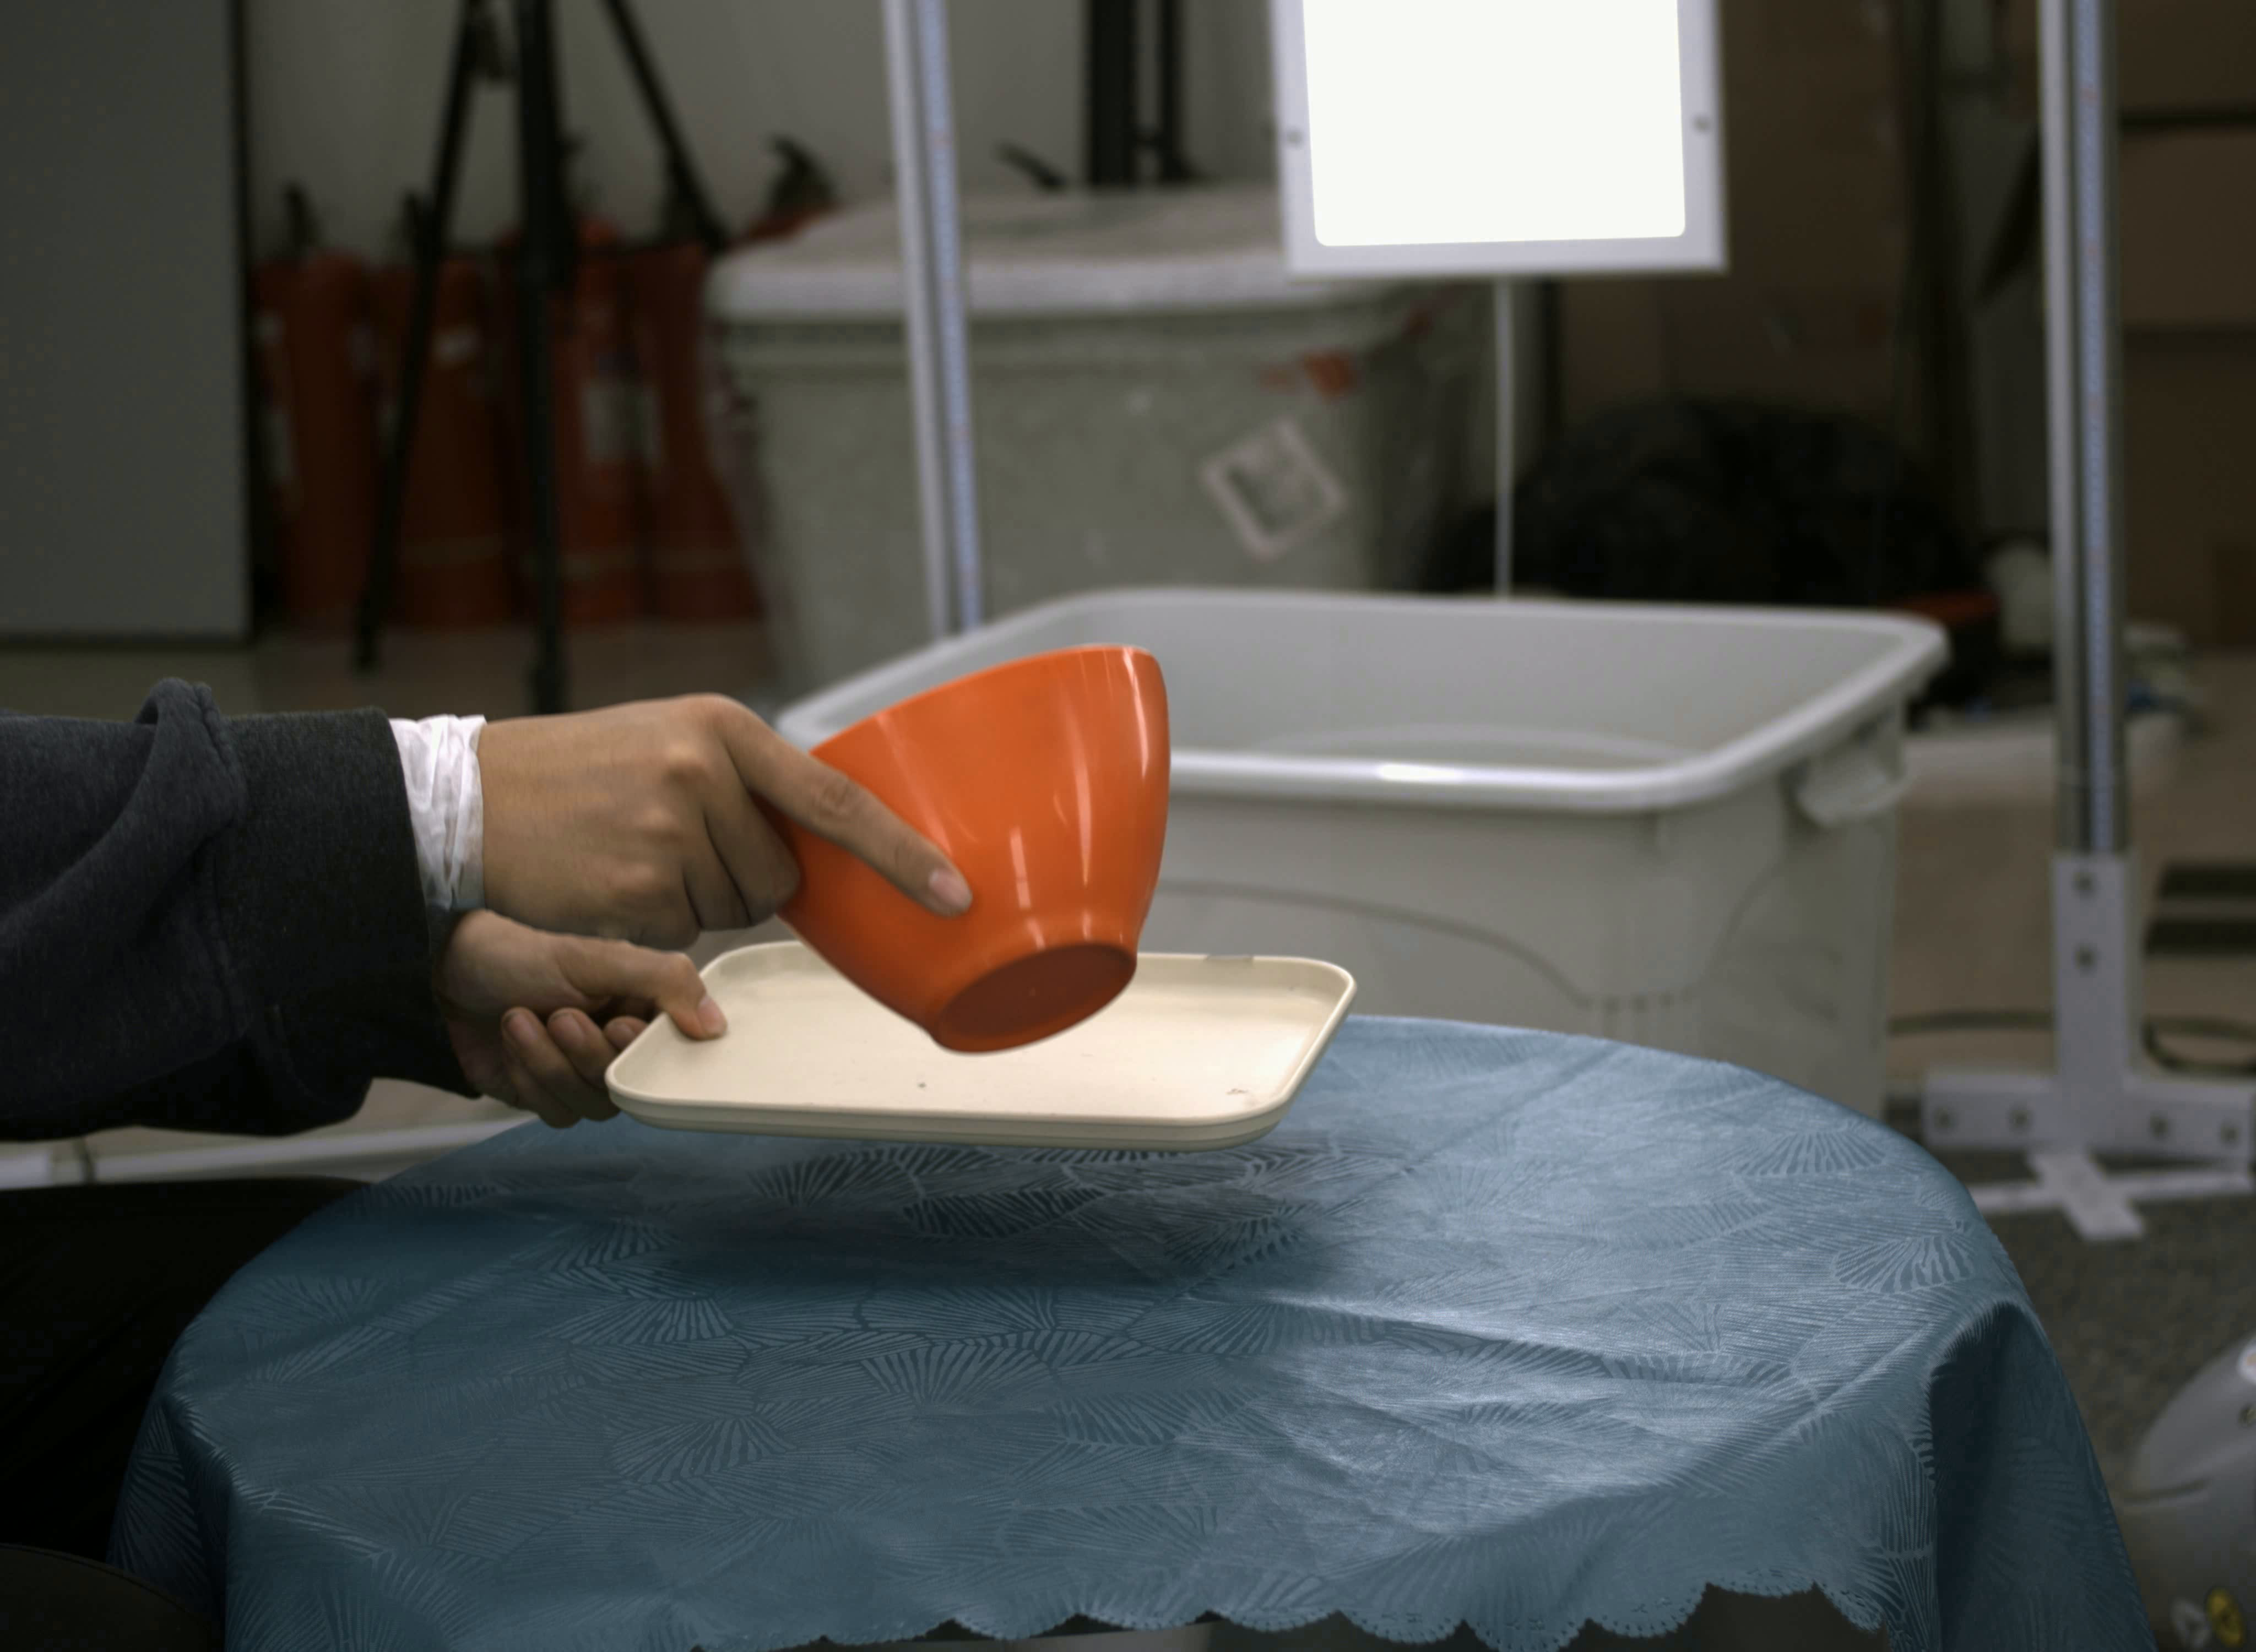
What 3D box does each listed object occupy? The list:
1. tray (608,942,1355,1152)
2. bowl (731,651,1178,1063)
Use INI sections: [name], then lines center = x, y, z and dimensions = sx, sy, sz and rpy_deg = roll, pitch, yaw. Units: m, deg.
[tray]
center = -0.048, 0.076, 1.901
dimensions = 0.242, 0.017, 0.169
rpy_deg = 1, 18, 16
[bowl]
center = -0.041, 0.015, 1.691
dimensions = 0.146, 0.105, 0.149
rpy_deg = -16, -25, -9
